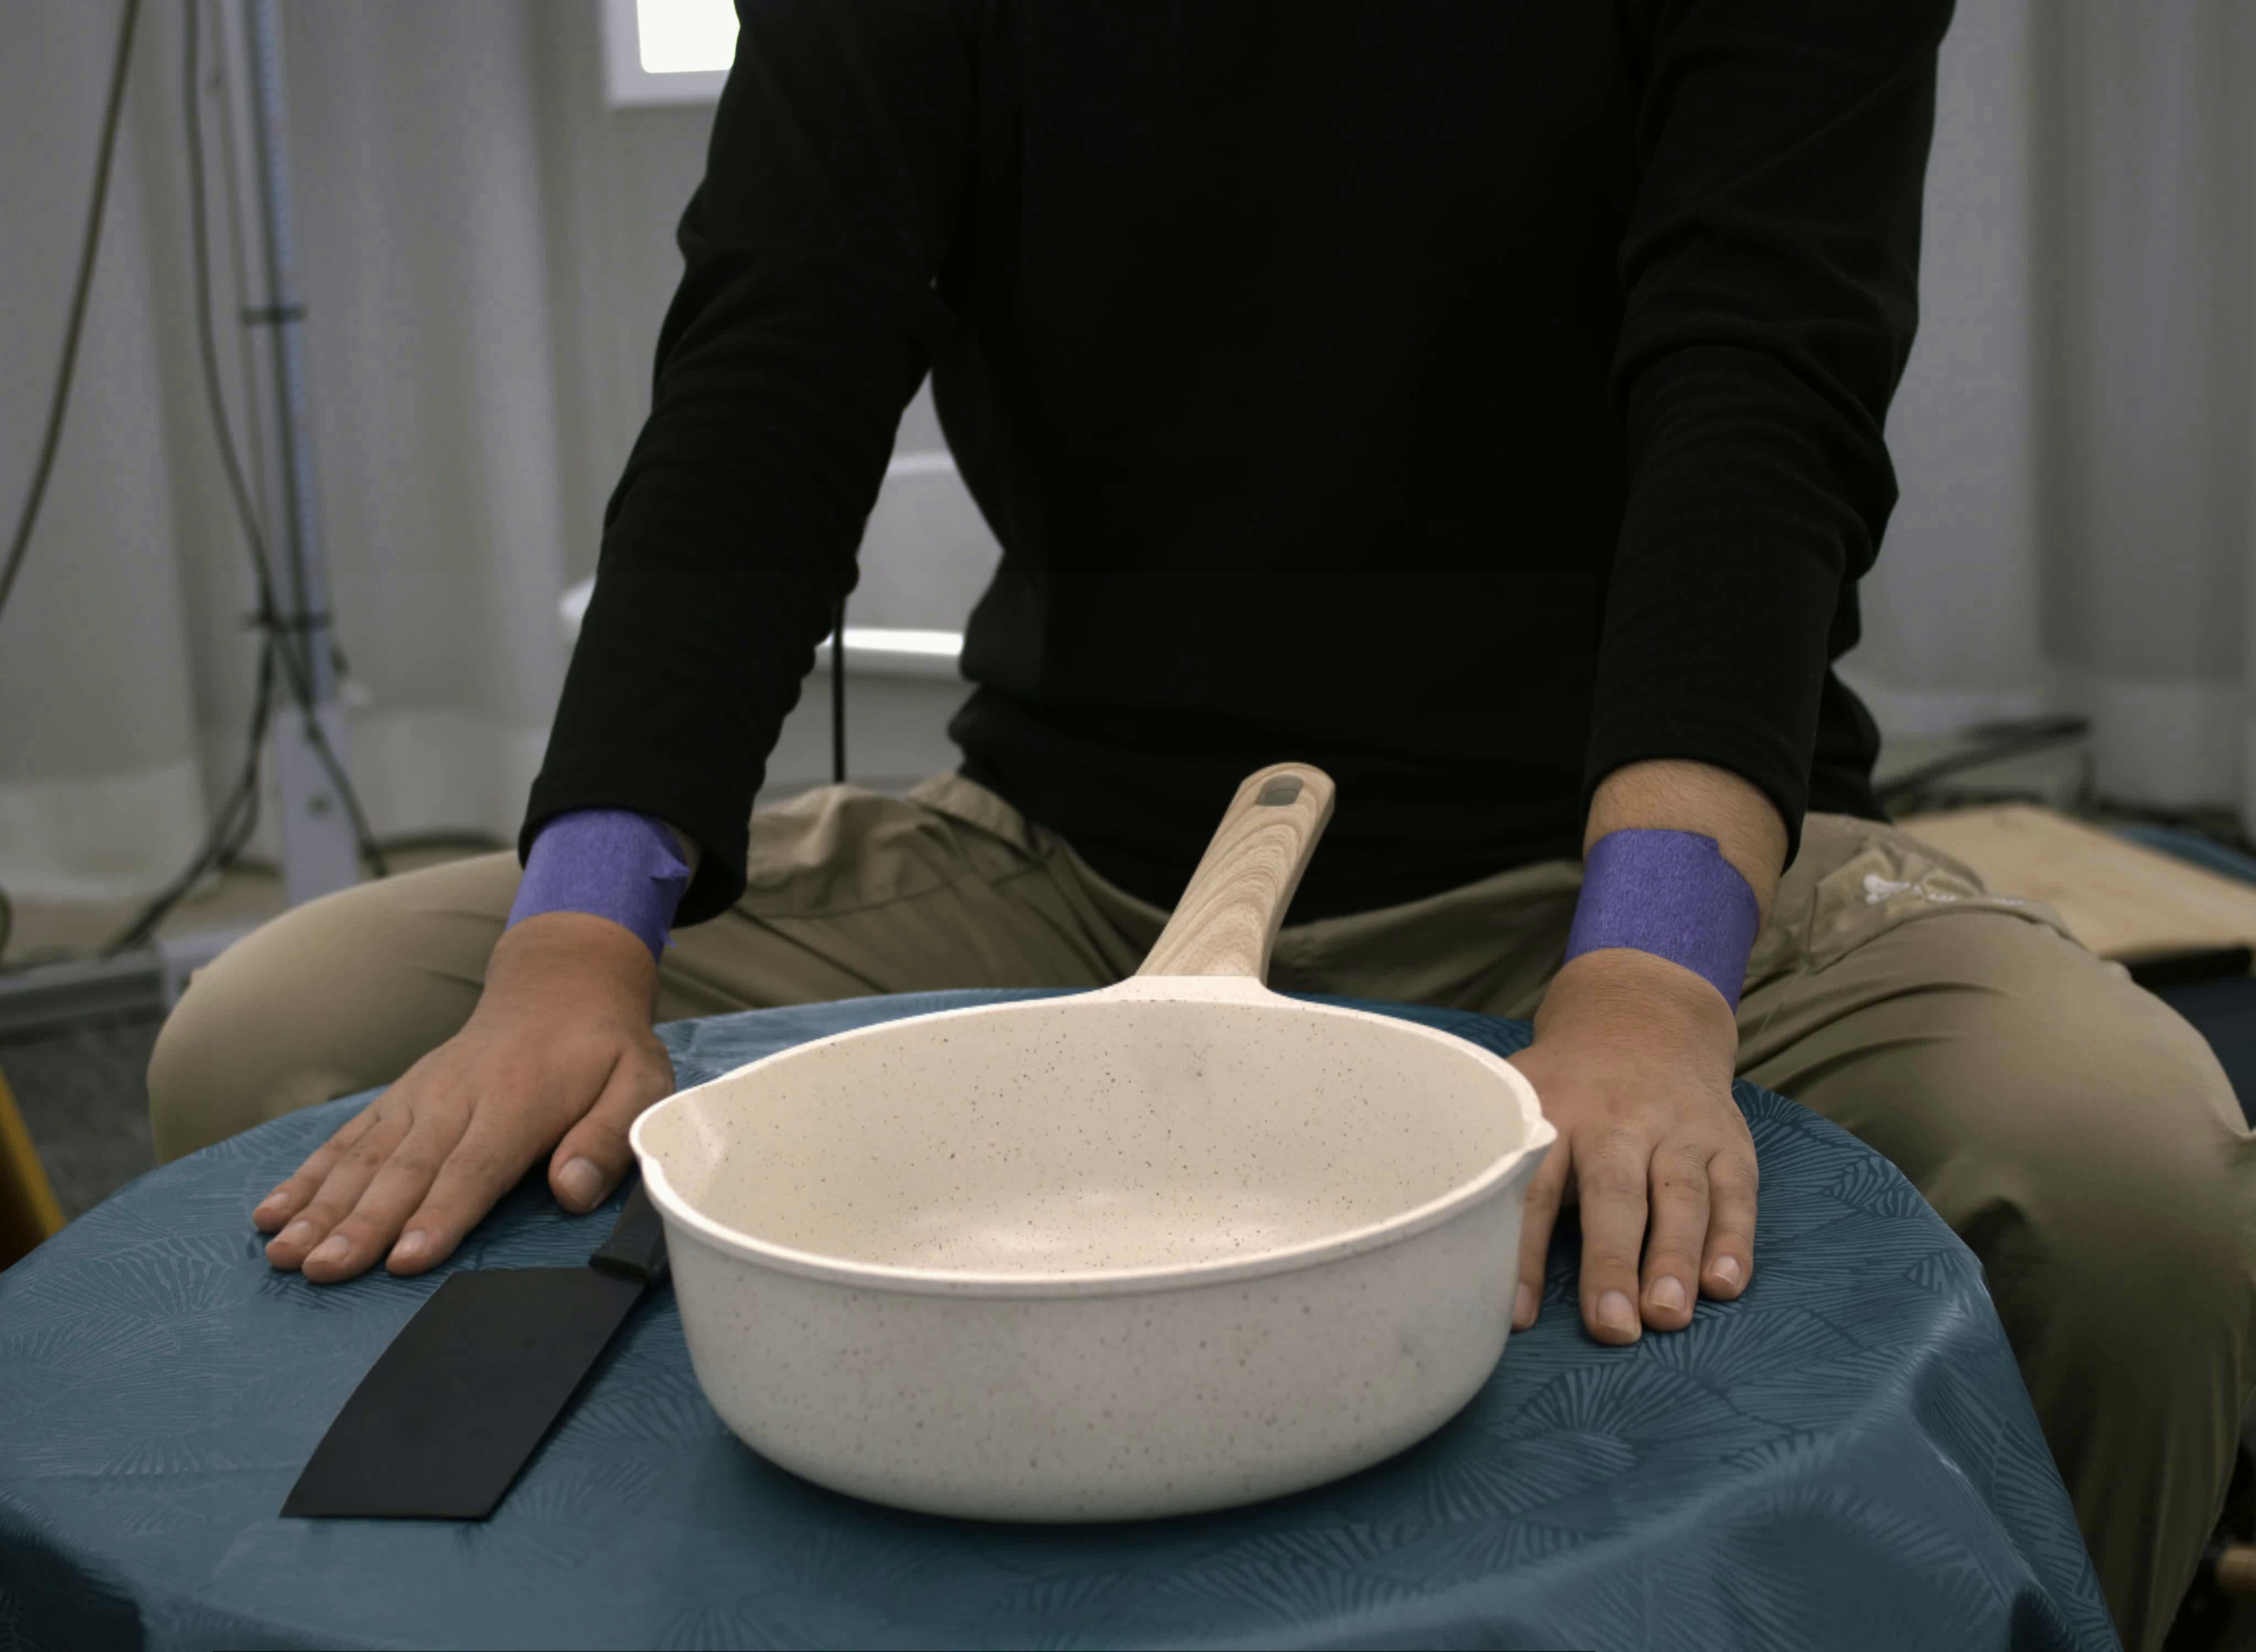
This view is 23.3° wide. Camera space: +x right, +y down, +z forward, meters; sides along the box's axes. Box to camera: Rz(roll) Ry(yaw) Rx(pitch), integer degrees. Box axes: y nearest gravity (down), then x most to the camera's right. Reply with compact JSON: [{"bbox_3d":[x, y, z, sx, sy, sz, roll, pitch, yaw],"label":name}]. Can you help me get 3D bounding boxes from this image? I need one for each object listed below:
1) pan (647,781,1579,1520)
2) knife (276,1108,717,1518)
[{"bbox_3d":[0.015,0.090,1.613,0.263,0.101,0.437,-1,15,12],"label":"pan"},{"bbox_3d":[-0.173,0.142,1.616,0.081,0.021,0.304,0,17,16],"label":"knife"}]
